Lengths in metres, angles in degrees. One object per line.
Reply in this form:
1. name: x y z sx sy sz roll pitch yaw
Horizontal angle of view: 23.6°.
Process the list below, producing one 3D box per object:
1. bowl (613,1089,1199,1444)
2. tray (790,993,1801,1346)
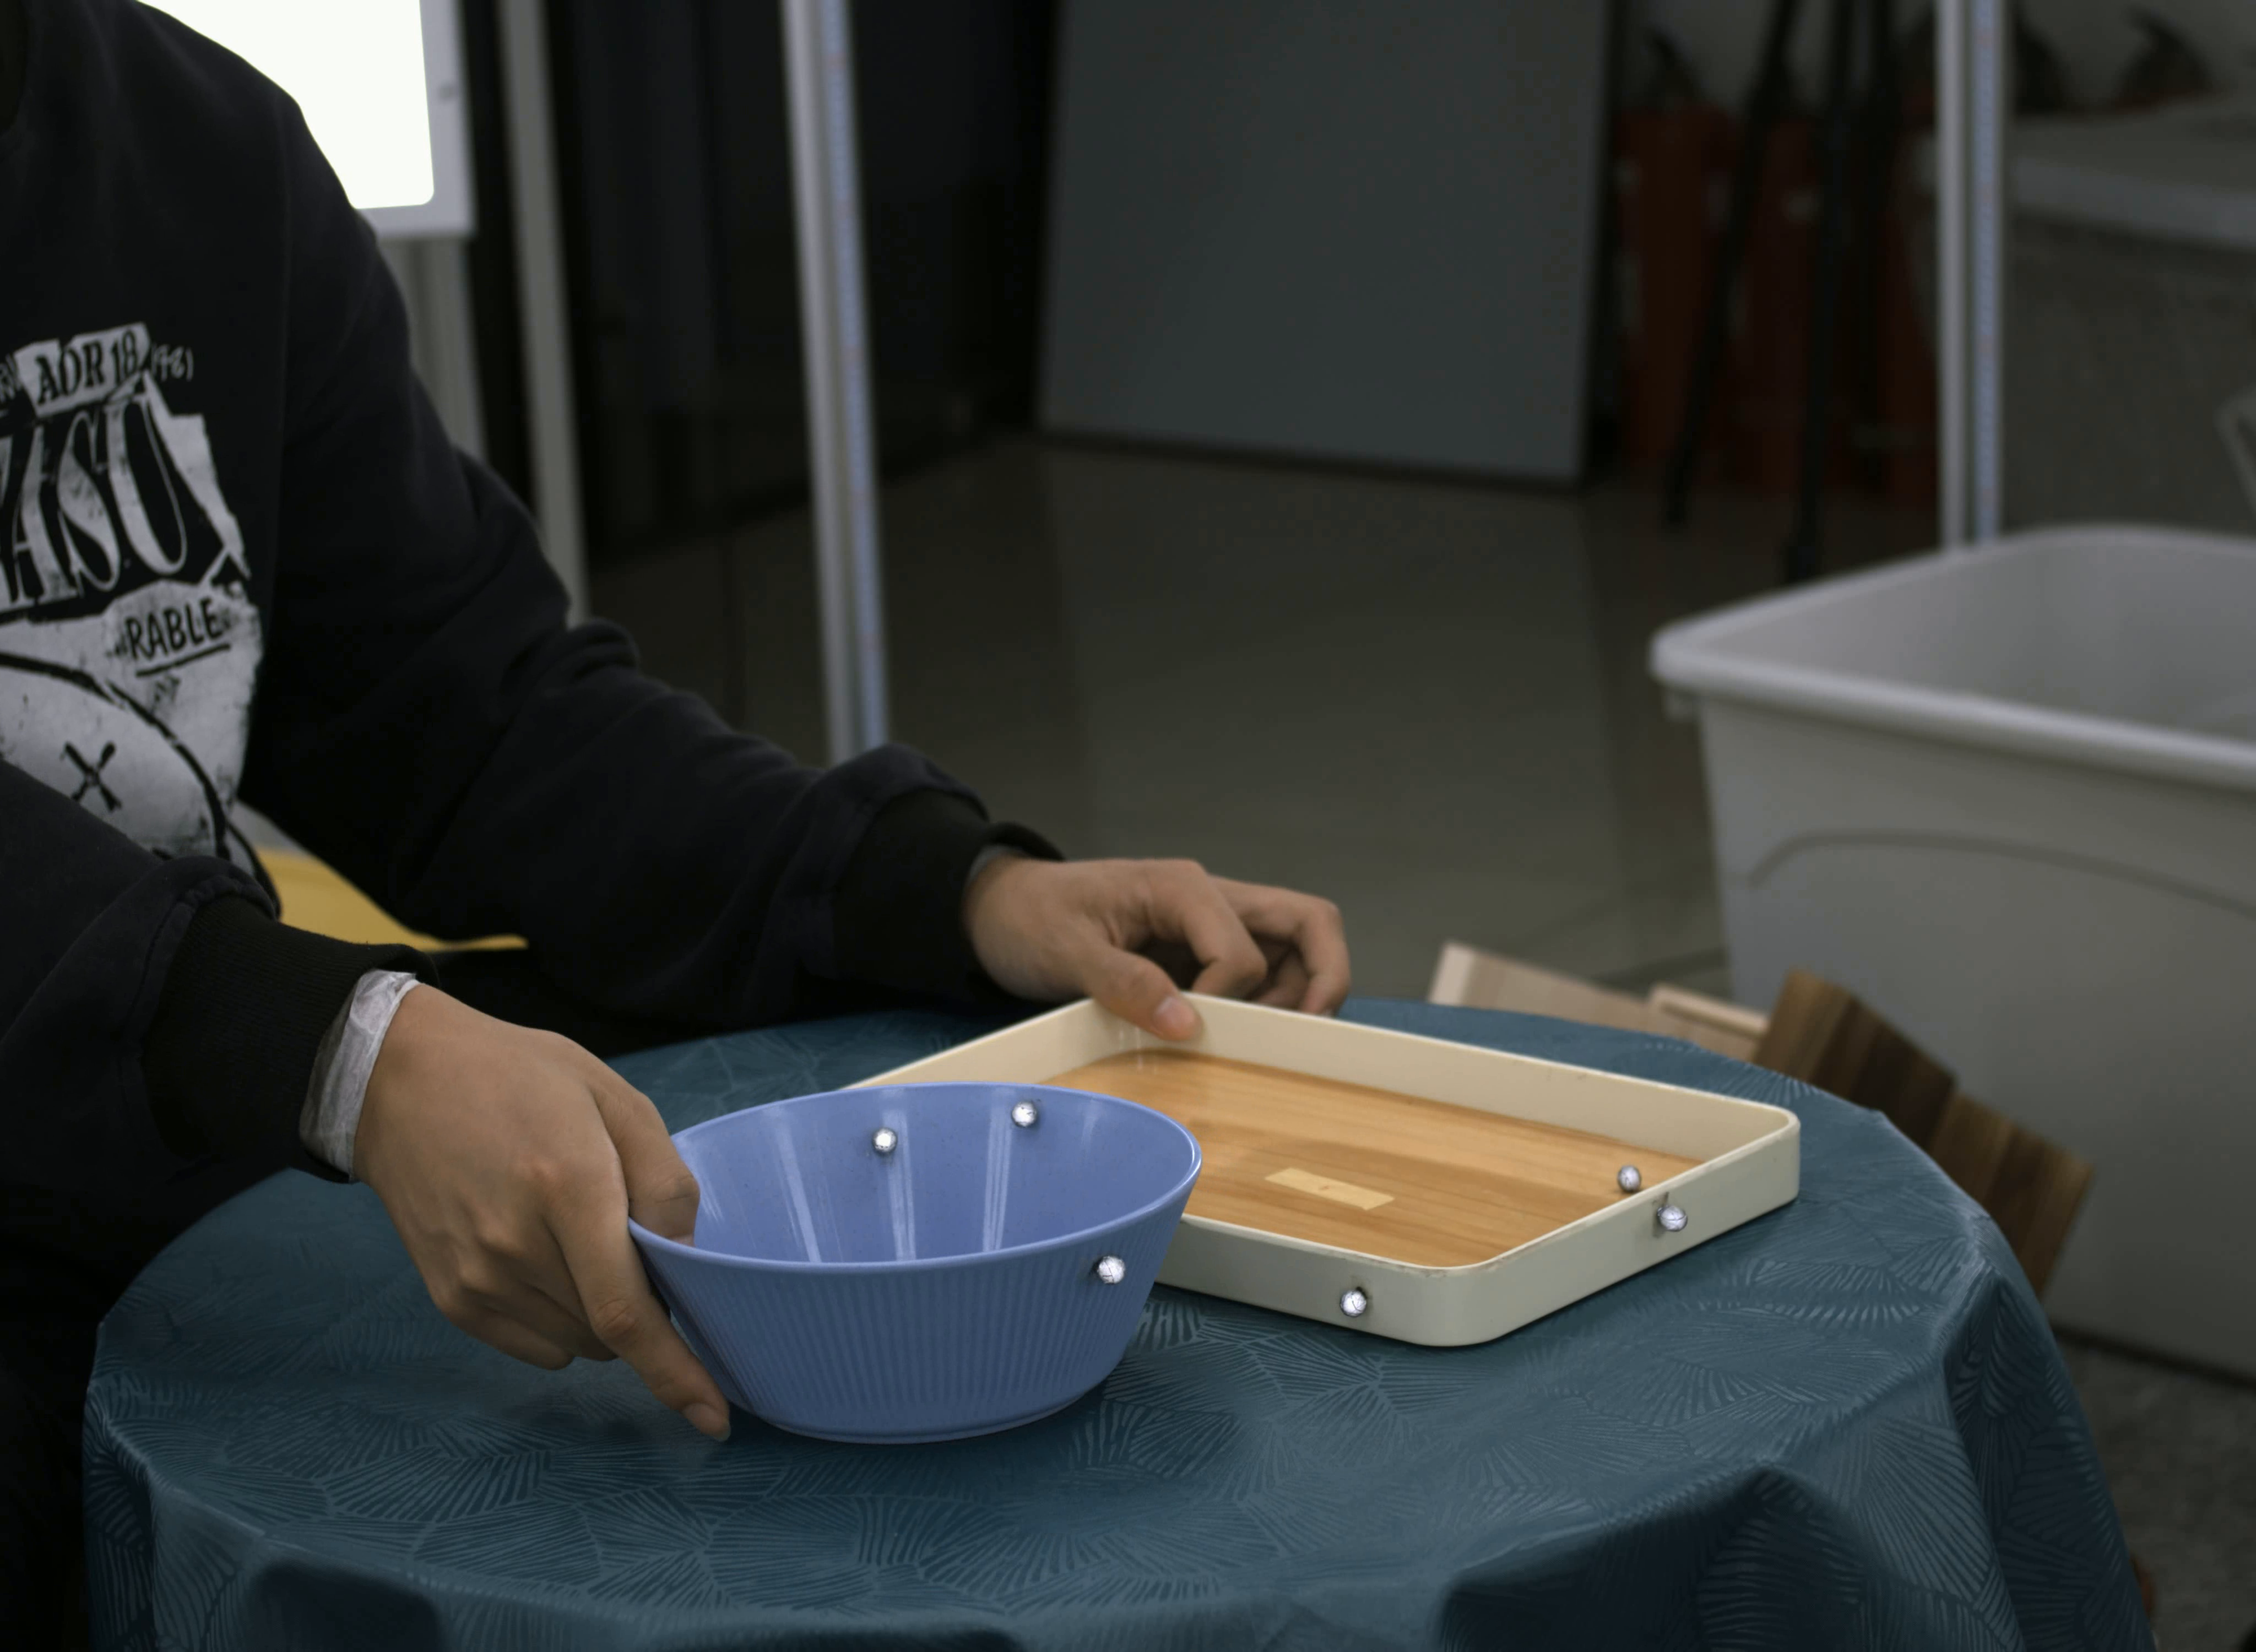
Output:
1. bowl: -0.063 0.132 1.596 0.174 0.071 0.176 -4 13 0
2. tray: 0.051 0.108 1.755 0.303 0.028 0.188 9 19 42
